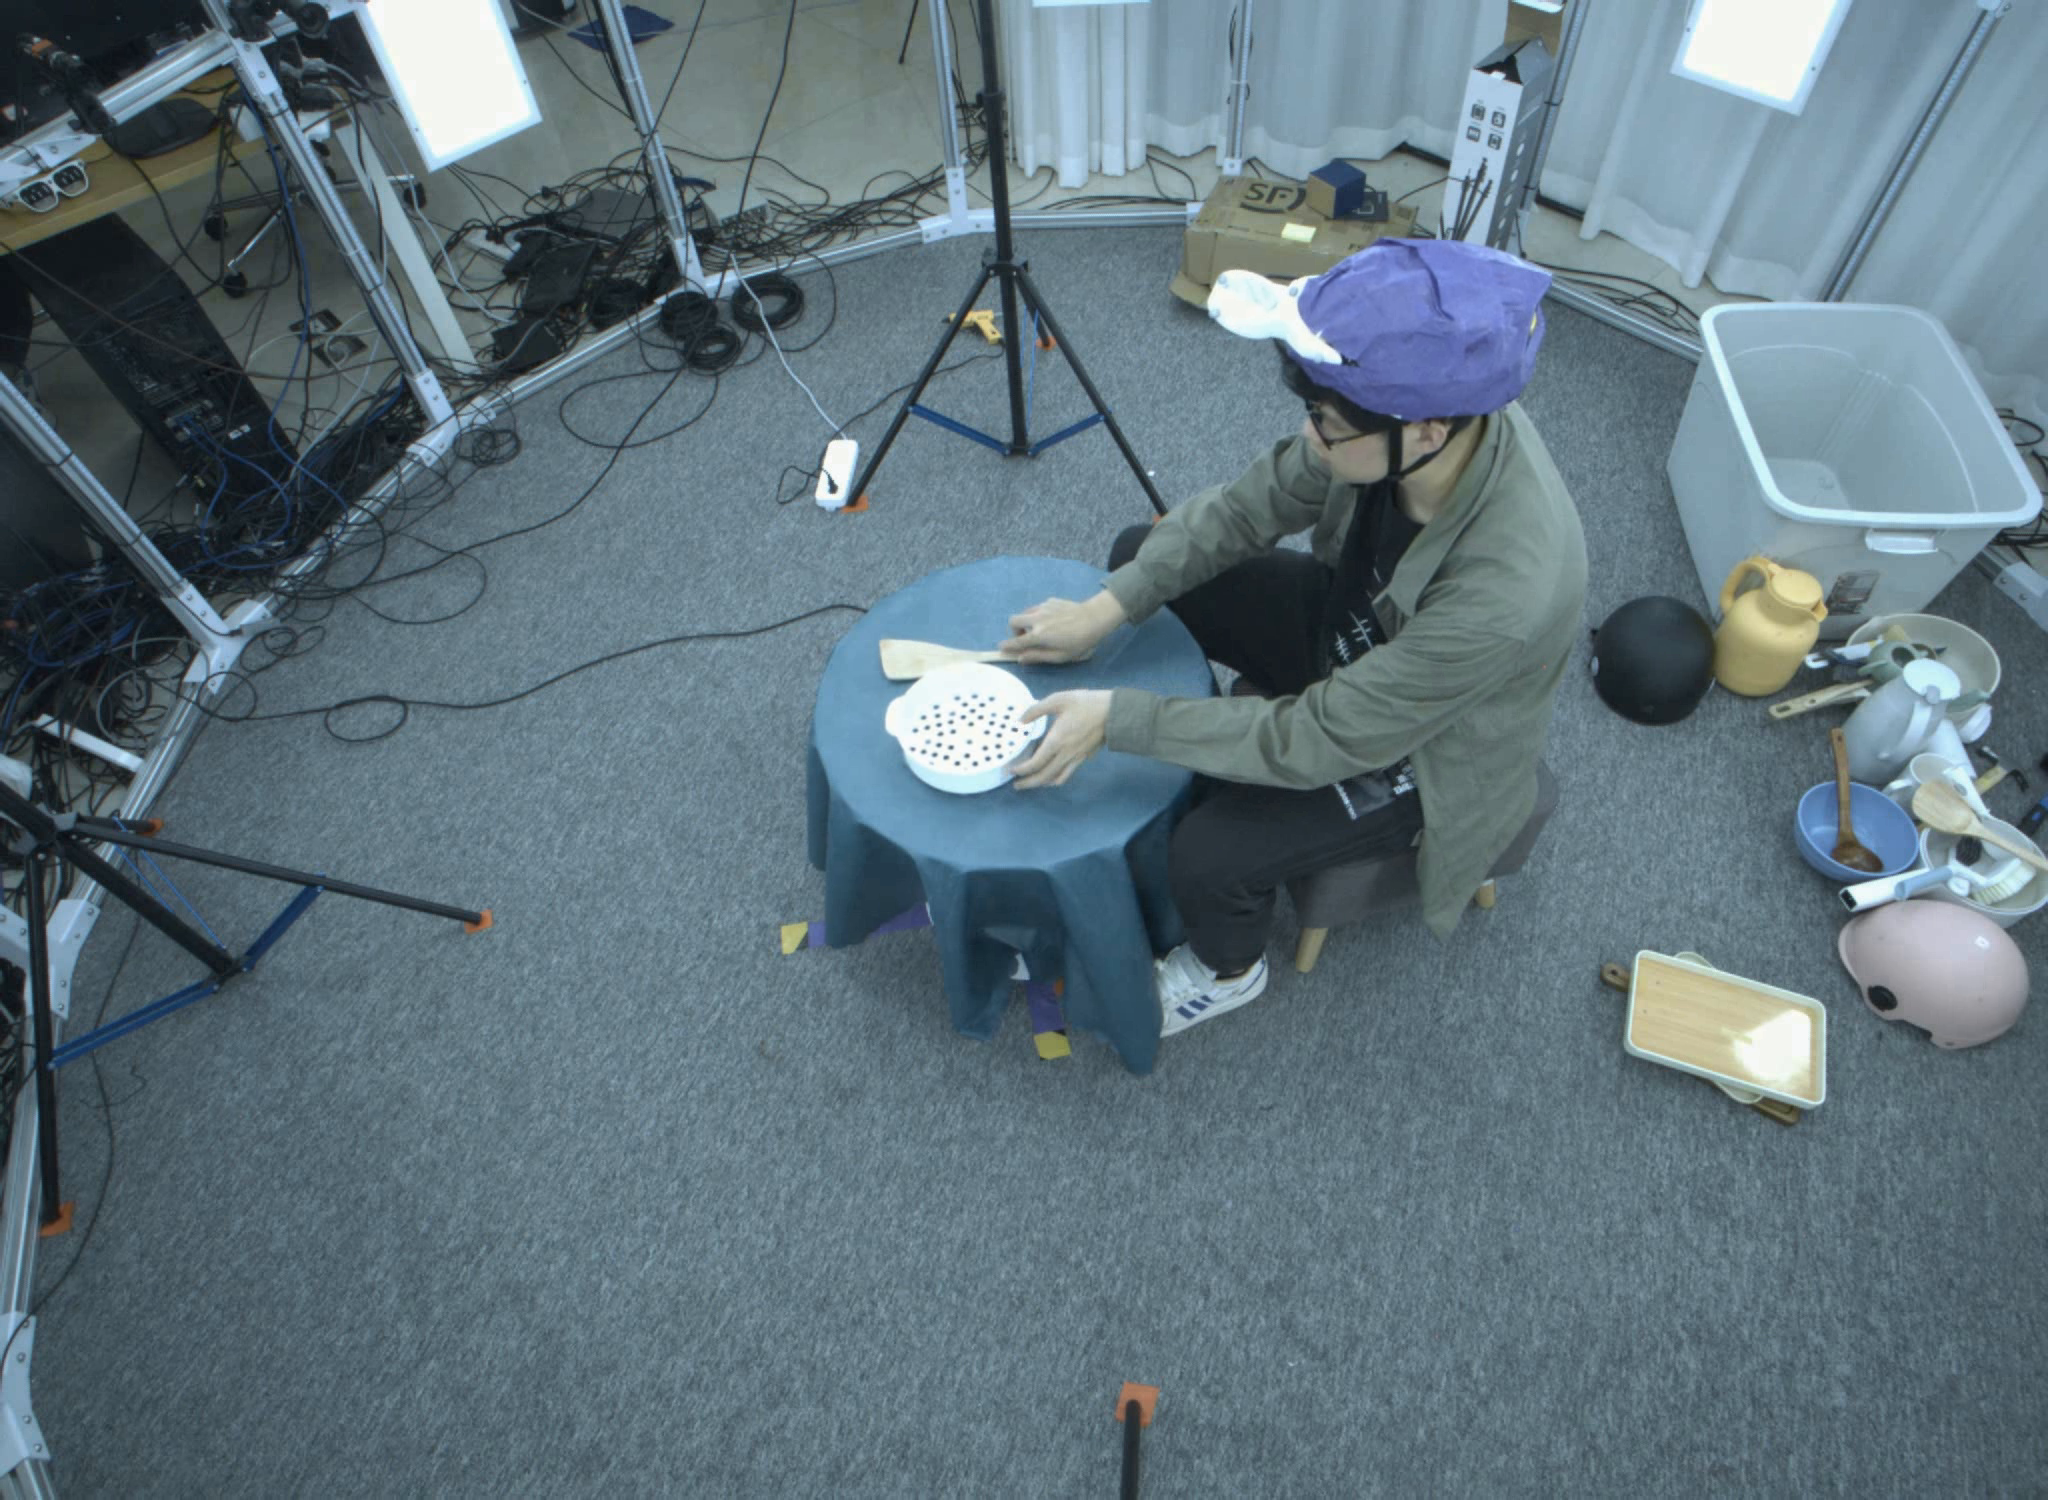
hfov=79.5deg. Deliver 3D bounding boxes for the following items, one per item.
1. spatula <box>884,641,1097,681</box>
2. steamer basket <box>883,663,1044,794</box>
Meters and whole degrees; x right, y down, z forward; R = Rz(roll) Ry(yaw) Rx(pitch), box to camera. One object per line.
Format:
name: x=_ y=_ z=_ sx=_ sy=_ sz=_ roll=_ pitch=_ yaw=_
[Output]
spatula: x=-0.053 y=-0.144 z=1.886 sx=0.328 sy=0.017 sz=0.079 roll=-3 pitch=55 yaw=0
steamer basket: x=-0.086 y=-0.029 z=1.776 sx=0.230 sy=0.070 sz=0.200 roll=3 pitch=55 yaw=2
